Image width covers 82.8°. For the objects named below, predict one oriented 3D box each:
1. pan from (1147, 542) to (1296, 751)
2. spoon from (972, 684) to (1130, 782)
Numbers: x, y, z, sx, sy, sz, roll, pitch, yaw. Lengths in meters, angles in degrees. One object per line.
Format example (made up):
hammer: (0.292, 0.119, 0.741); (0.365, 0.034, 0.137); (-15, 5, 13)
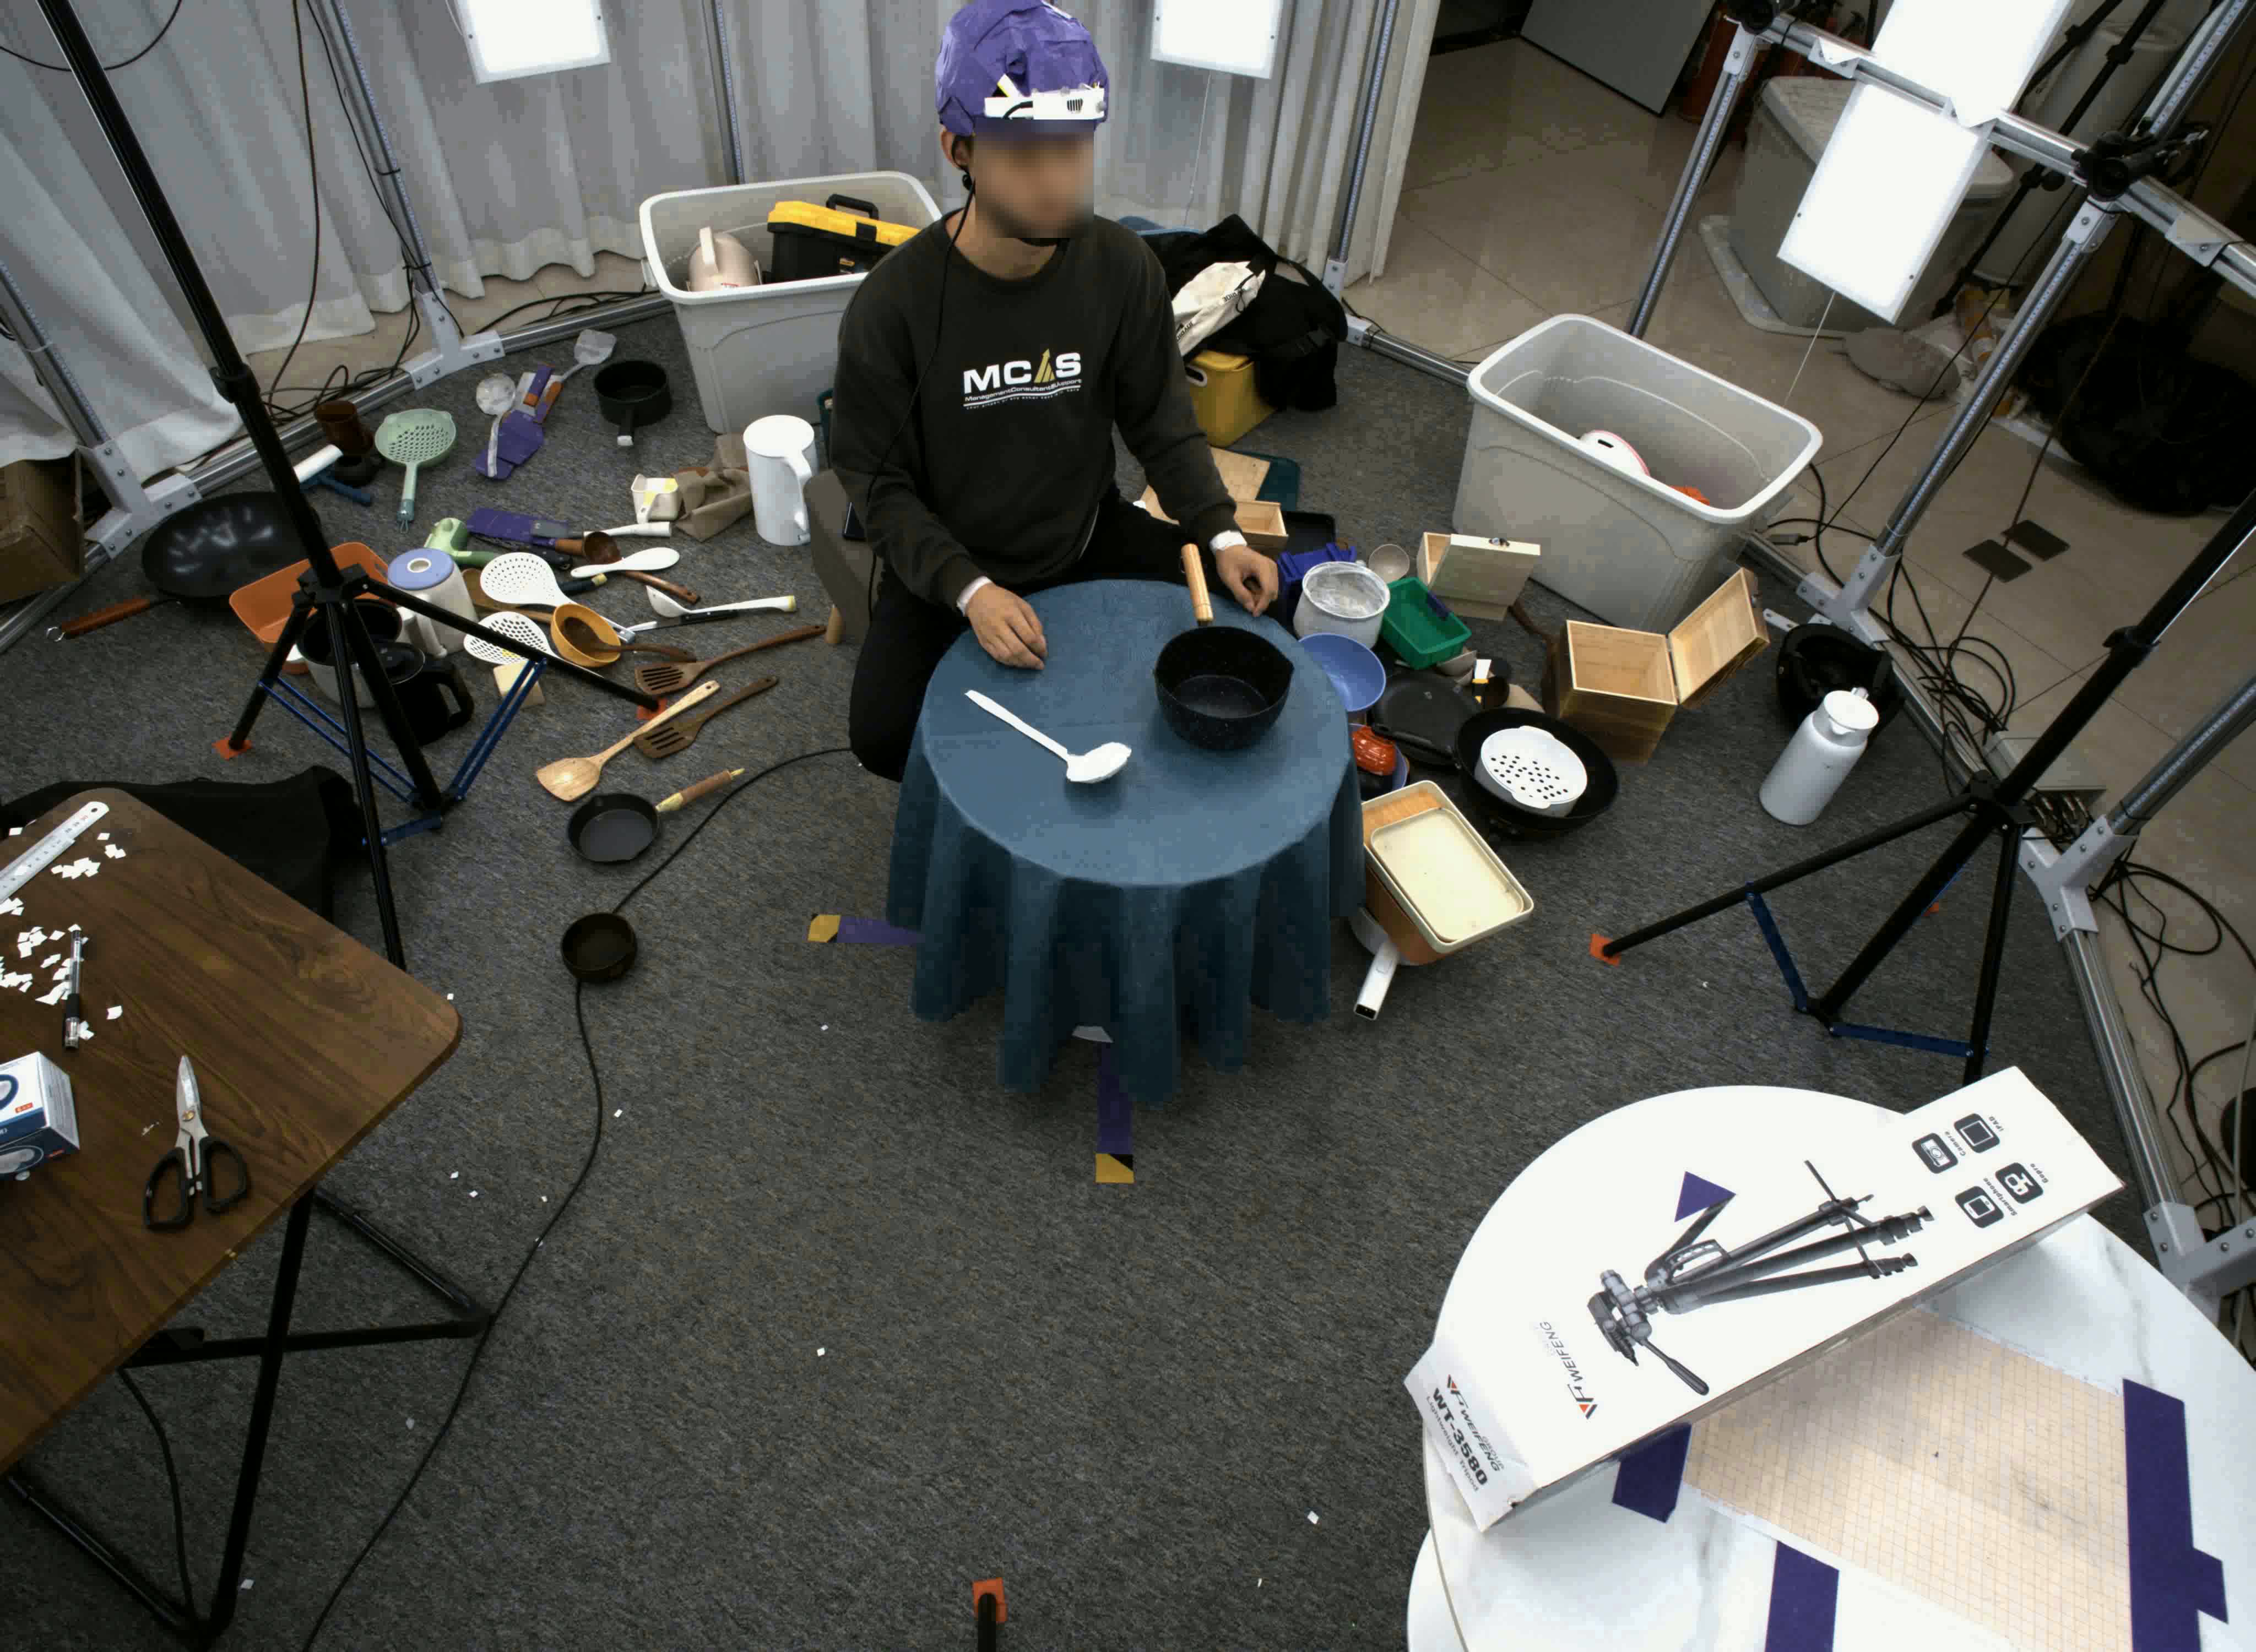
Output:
pan: (0.115, -0.255, 1.827); (0.207, 0.105, 0.351); (-7, 51, -8)
spoon: (-0.111, -0.141, 1.745); (0.281, 0.058, 0.101); (37, 54, 25)
